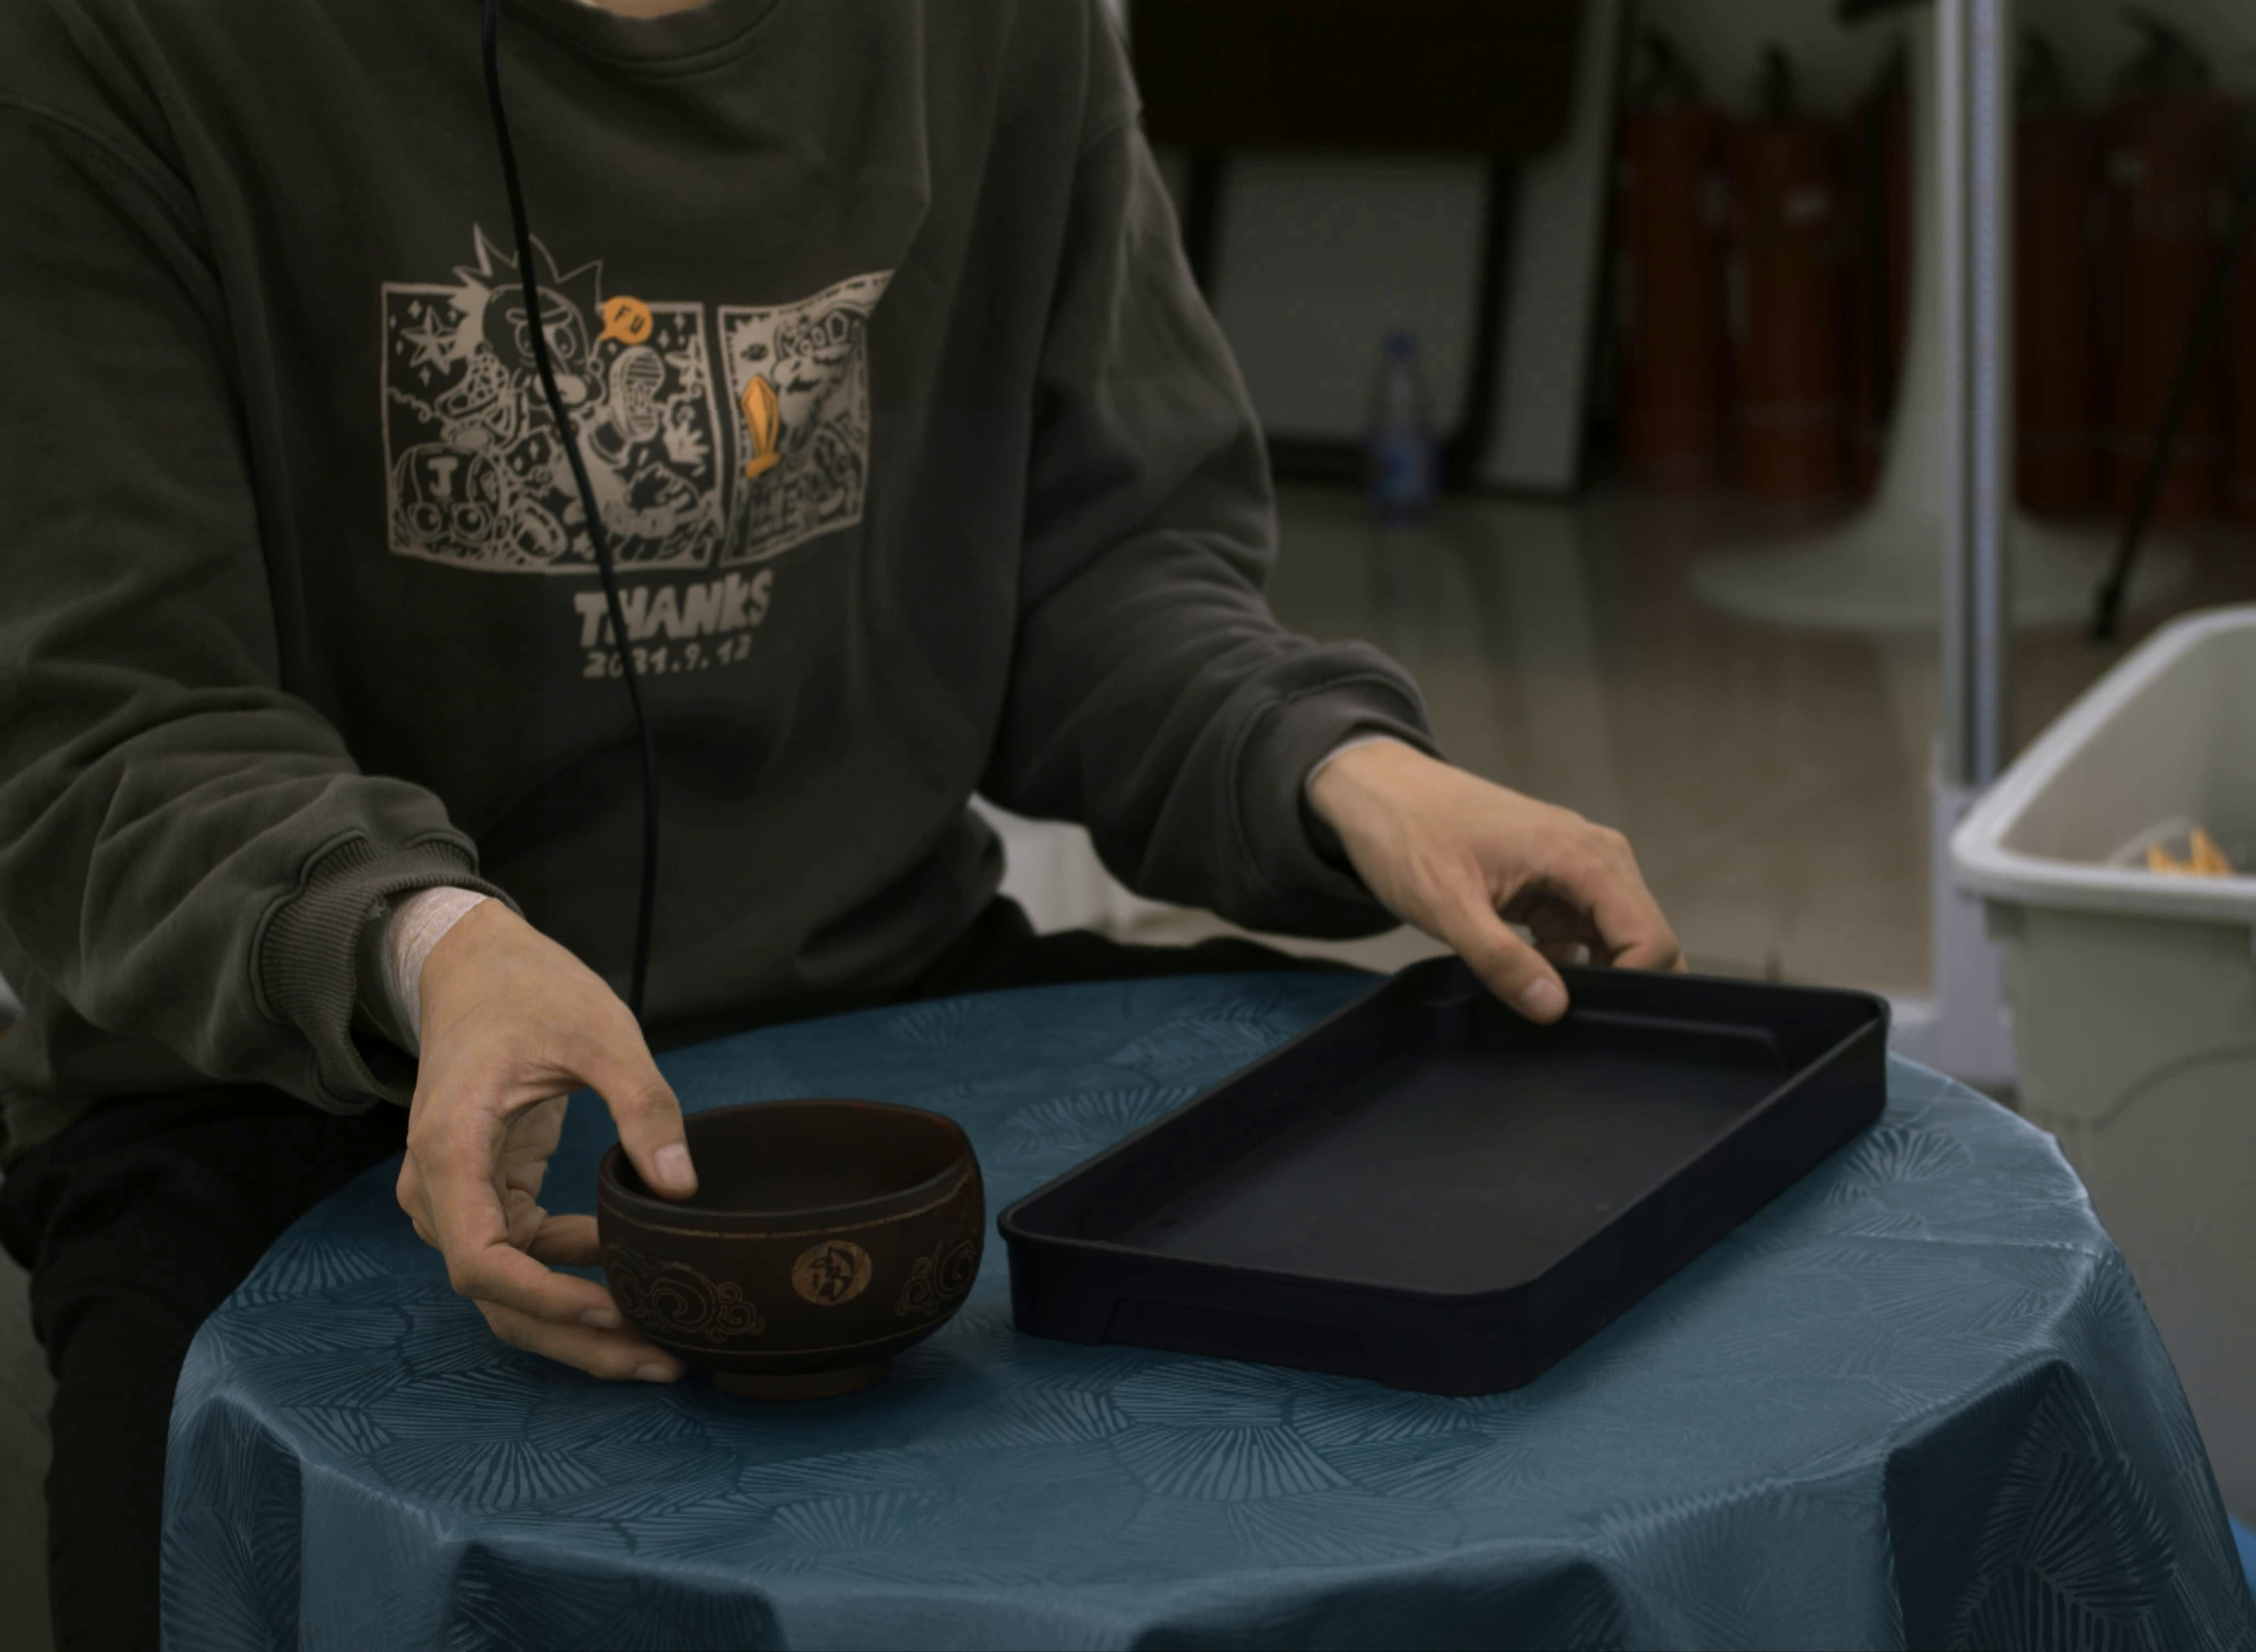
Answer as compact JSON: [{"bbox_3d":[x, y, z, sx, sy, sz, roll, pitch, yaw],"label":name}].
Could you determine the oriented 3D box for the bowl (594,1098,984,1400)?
[{"bbox_3d":[-0.100,0.130,1.616,0.116,0.070,0.118,-4,12,0],"label":"bowl"}]

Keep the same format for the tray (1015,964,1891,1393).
[{"bbox_3d":[0.112,0.107,1.727,0.185,0.037,0.313,3,16,29],"label":"tray"}]
